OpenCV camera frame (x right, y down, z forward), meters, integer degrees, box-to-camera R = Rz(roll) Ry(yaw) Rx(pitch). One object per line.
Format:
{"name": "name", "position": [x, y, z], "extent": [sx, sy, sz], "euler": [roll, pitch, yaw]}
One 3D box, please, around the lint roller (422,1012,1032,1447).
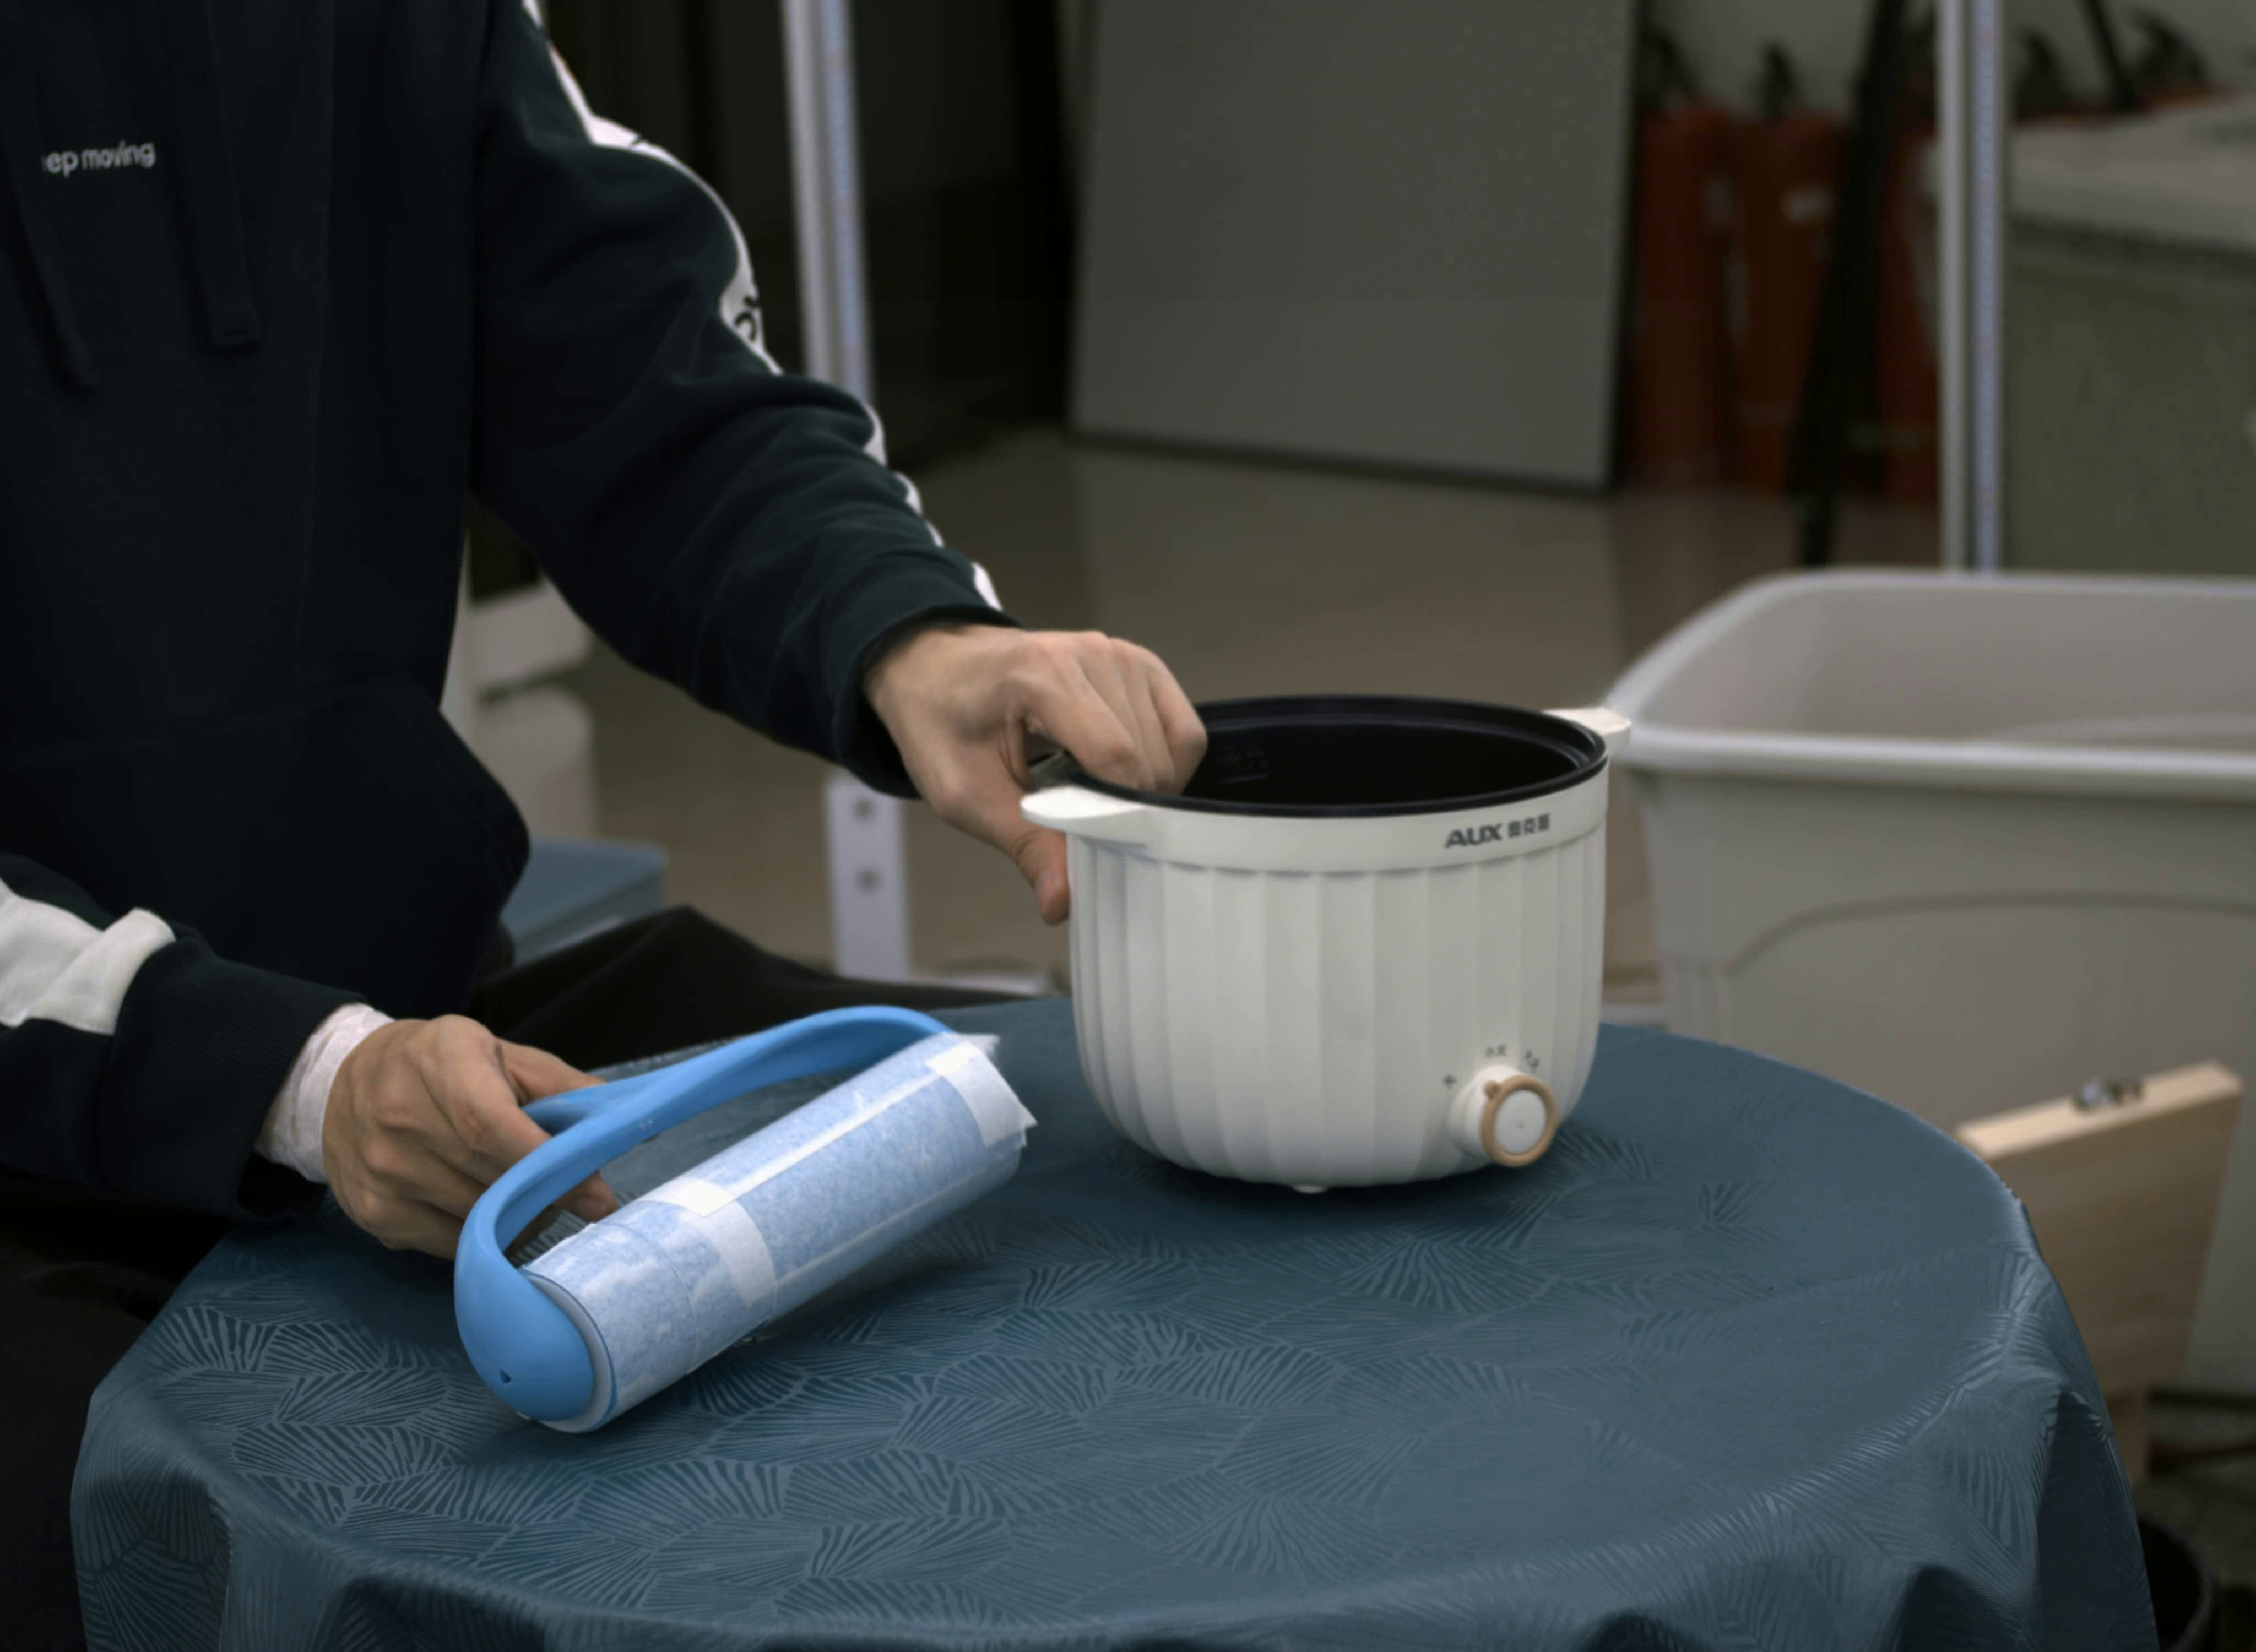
{"name": "lint roller", "position": [-0.155, 0.116, 1.678], "extent": [0.181, 0.068, 0.225], "euler": [8, 26, 35]}

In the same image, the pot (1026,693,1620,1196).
{"name": "pot", "position": [0.074, 0.039, 1.780], "extent": [0.235, 0.144, 0.192], "euler": [-11, 12, -33]}
